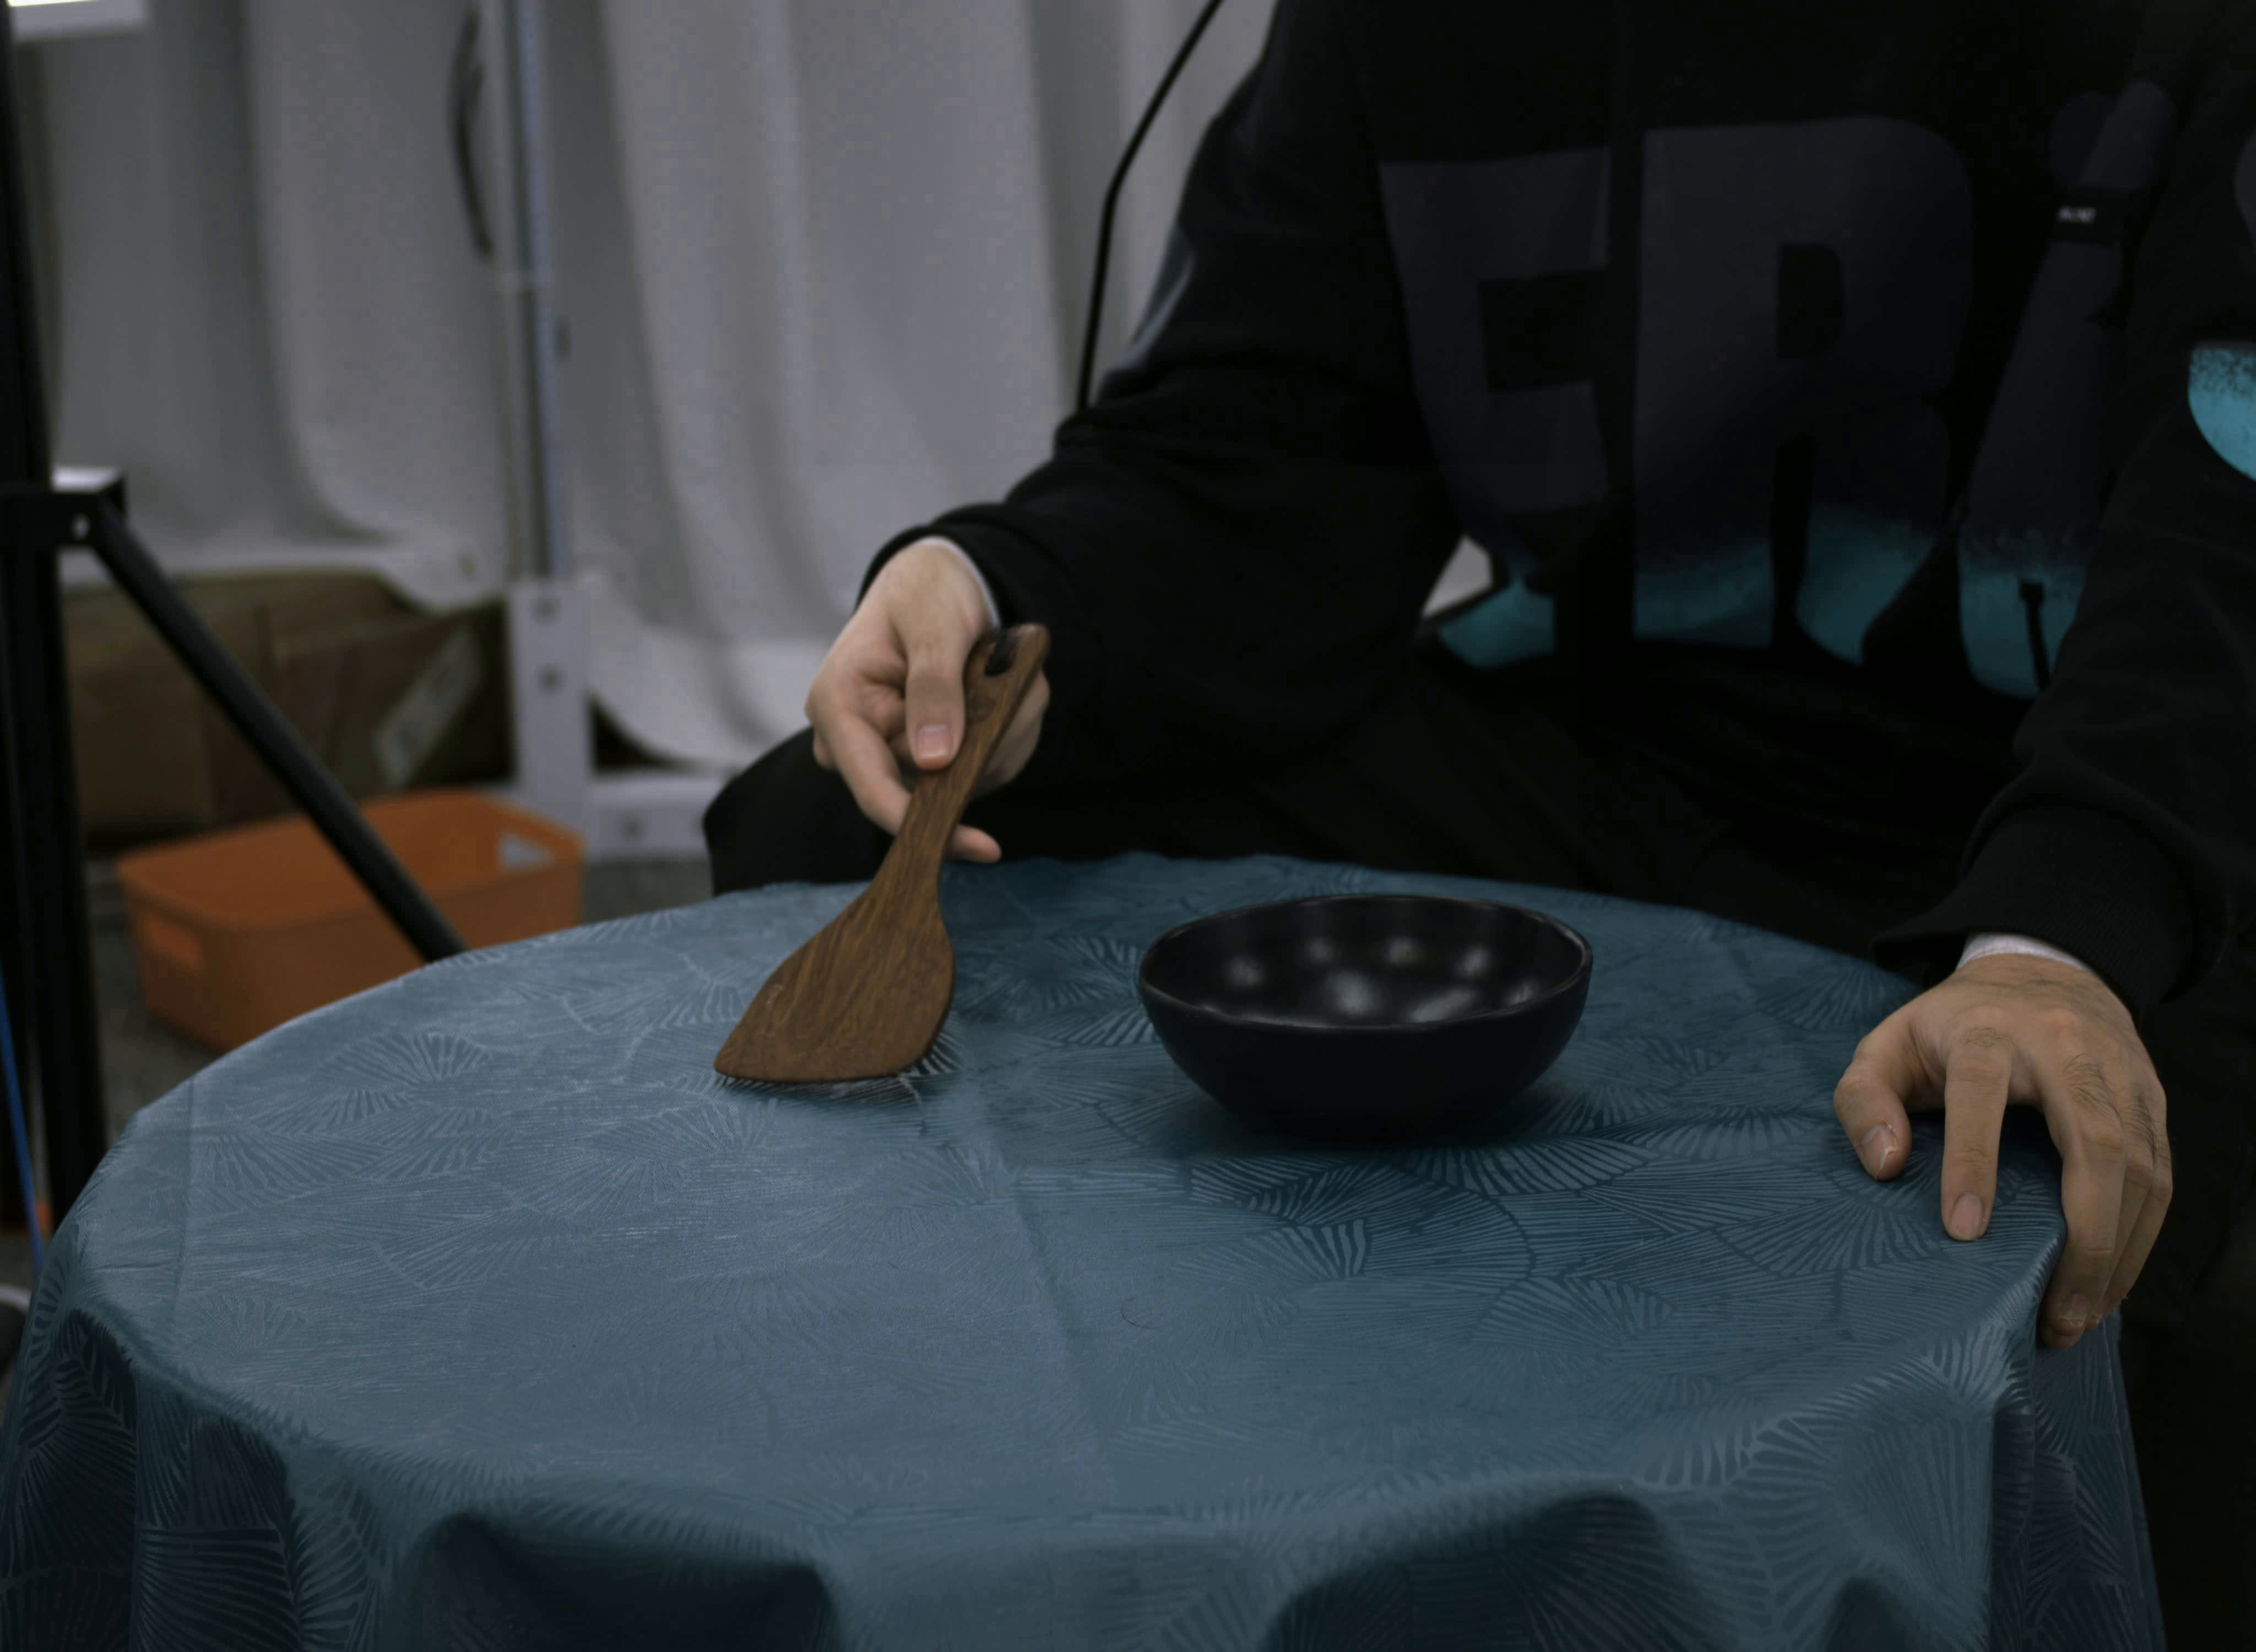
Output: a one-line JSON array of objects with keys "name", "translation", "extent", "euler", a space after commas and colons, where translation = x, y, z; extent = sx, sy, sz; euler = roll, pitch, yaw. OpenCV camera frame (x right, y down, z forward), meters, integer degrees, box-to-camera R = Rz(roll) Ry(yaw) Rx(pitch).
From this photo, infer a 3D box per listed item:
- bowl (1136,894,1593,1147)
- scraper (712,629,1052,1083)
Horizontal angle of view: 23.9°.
[{"name": "bowl", "translation": [0.073, 0.064, 1.614], "extent": [0.139, 0.050, 0.141], "euler": [-5, 15, 0]}, {"name": "scraper", "translation": [-0.068, 0.008, 1.721], "extent": [0.077, 0.010, 0.211], "euler": [-2, 43, 27]}]
